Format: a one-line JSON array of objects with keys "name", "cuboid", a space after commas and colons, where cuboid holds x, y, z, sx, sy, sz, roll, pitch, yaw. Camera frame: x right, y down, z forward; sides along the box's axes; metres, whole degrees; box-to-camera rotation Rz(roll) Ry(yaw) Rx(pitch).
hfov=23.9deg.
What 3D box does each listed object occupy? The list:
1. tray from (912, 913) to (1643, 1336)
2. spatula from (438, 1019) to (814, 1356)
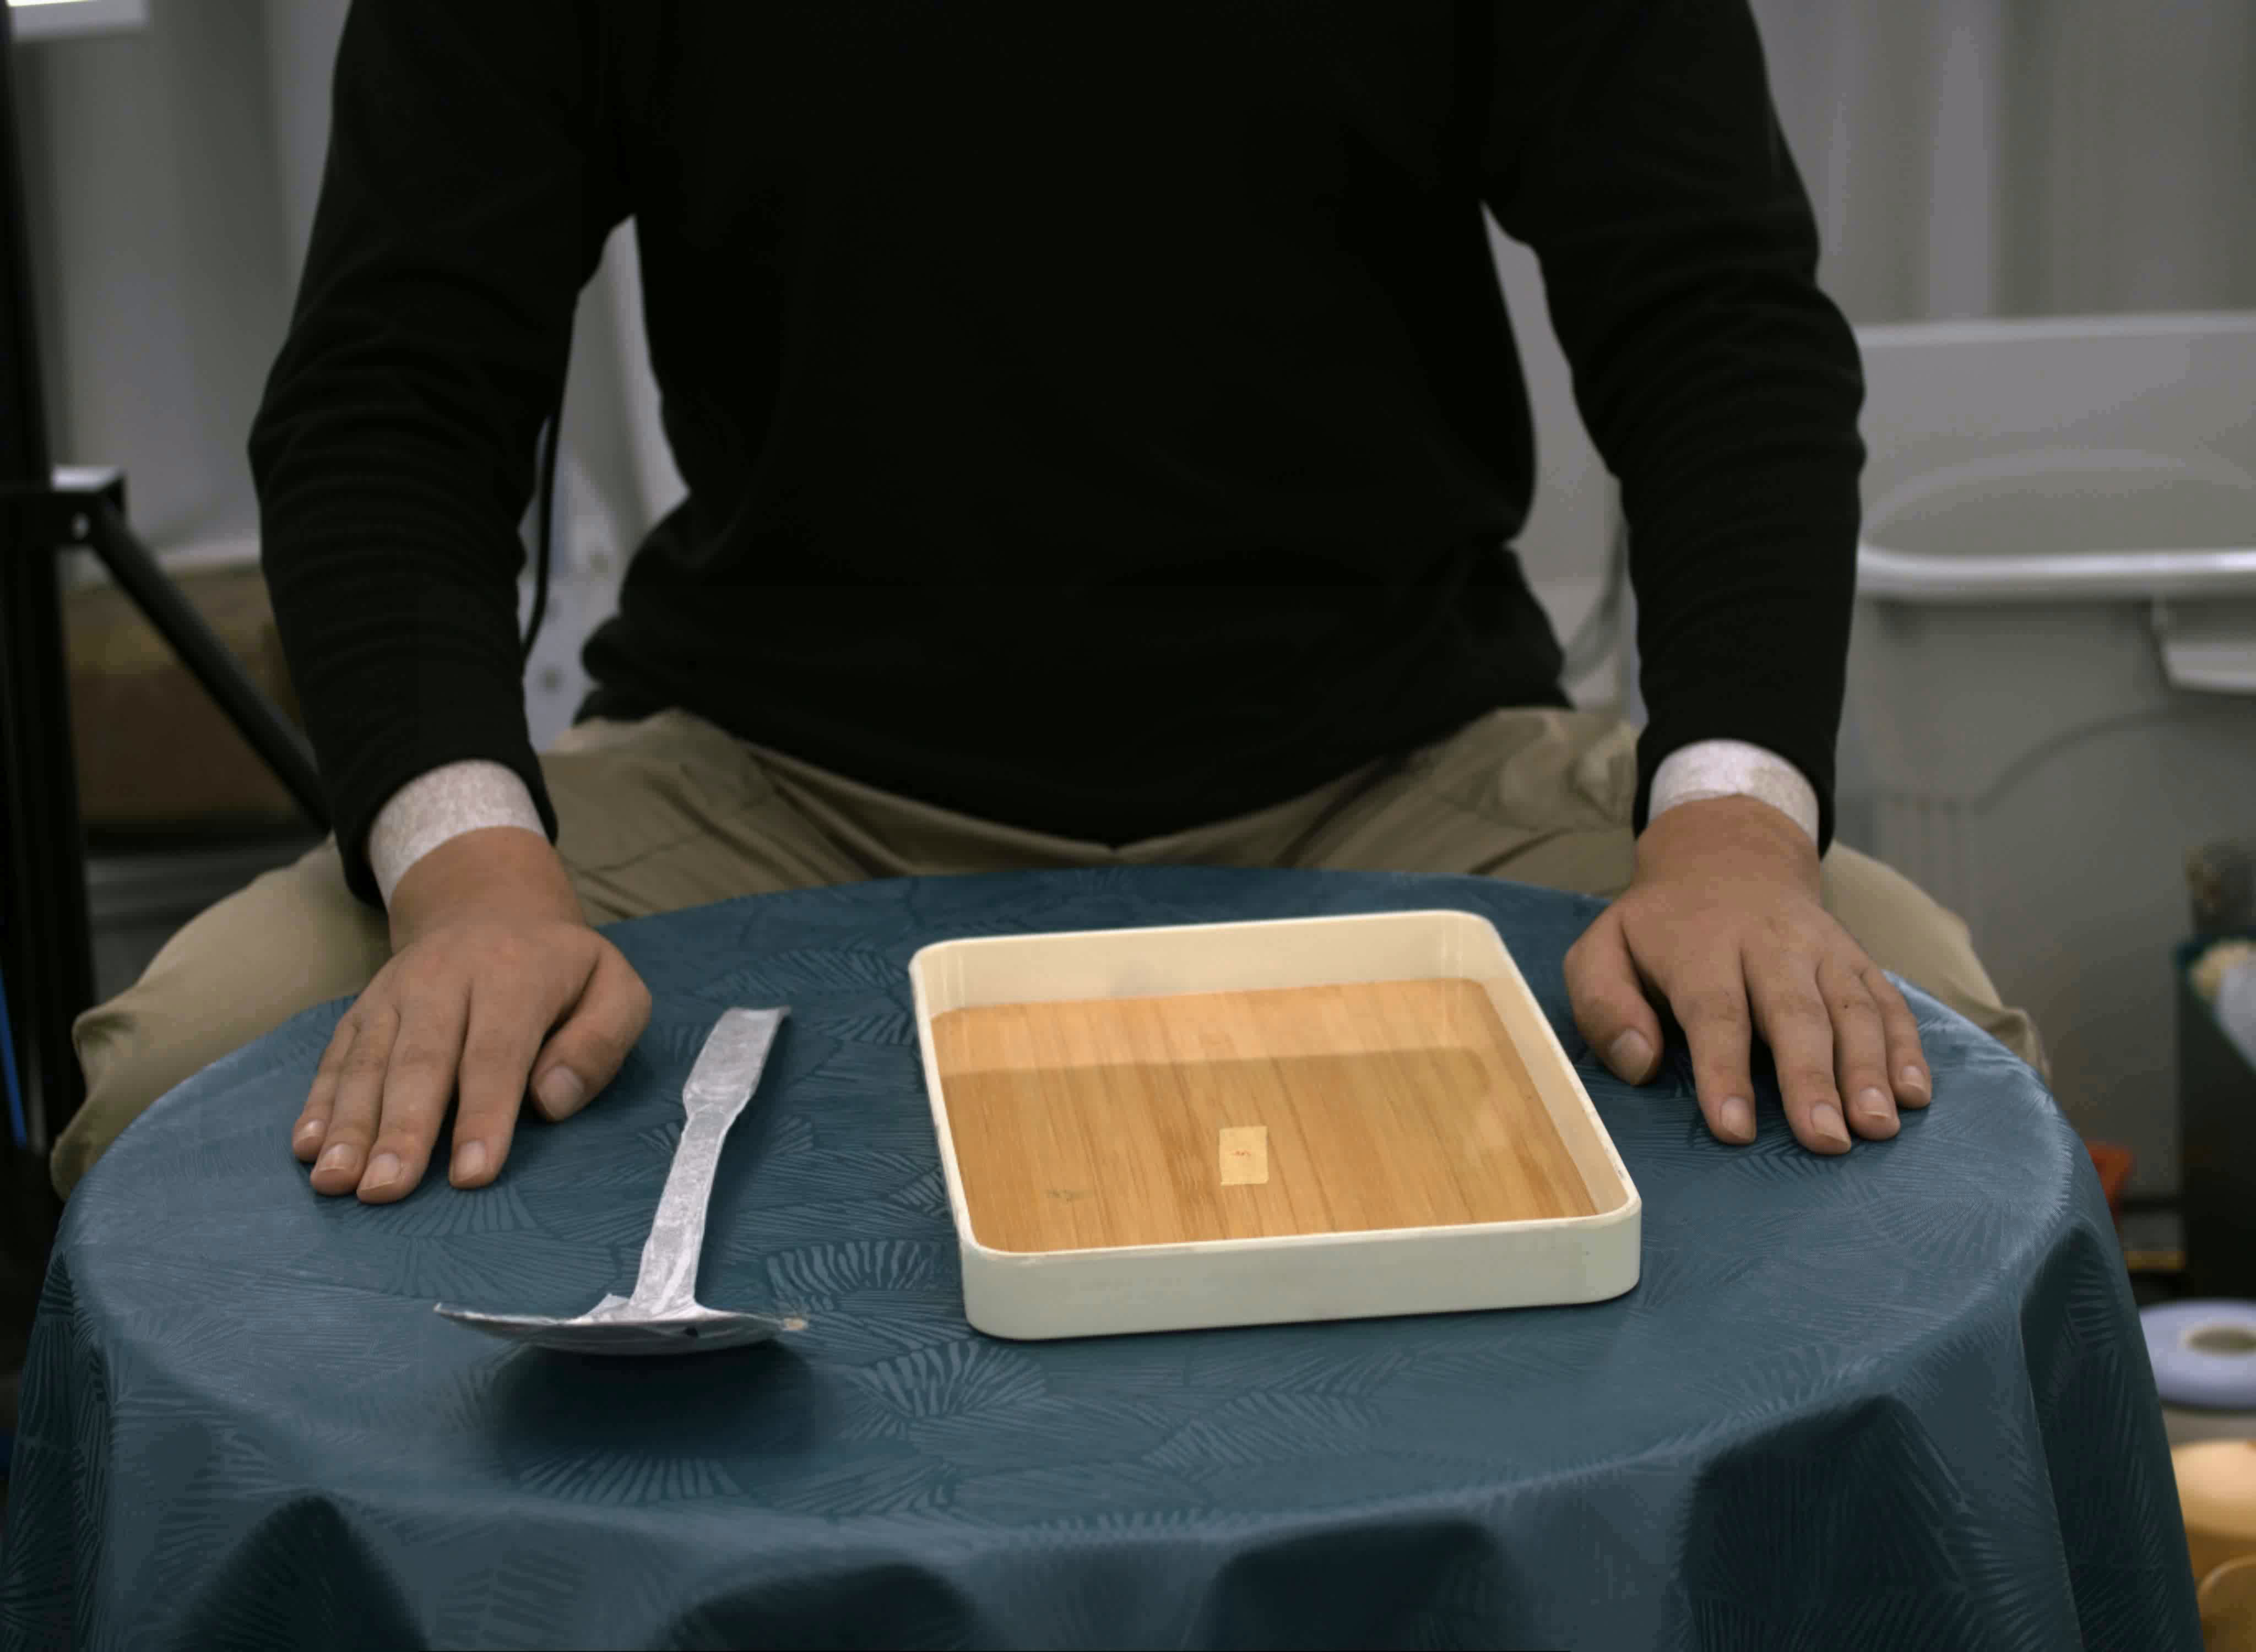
[{"name": "tray", "cuboid": [0.037, 0.085, 1.584, 0.190, 0.027, 0.302, -4, 16, -3]}, {"name": "spatula", "cuboid": [-0.124, 0.096, 1.550, 0.098, 0.045, 0.365, -2, 16, 4]}]
